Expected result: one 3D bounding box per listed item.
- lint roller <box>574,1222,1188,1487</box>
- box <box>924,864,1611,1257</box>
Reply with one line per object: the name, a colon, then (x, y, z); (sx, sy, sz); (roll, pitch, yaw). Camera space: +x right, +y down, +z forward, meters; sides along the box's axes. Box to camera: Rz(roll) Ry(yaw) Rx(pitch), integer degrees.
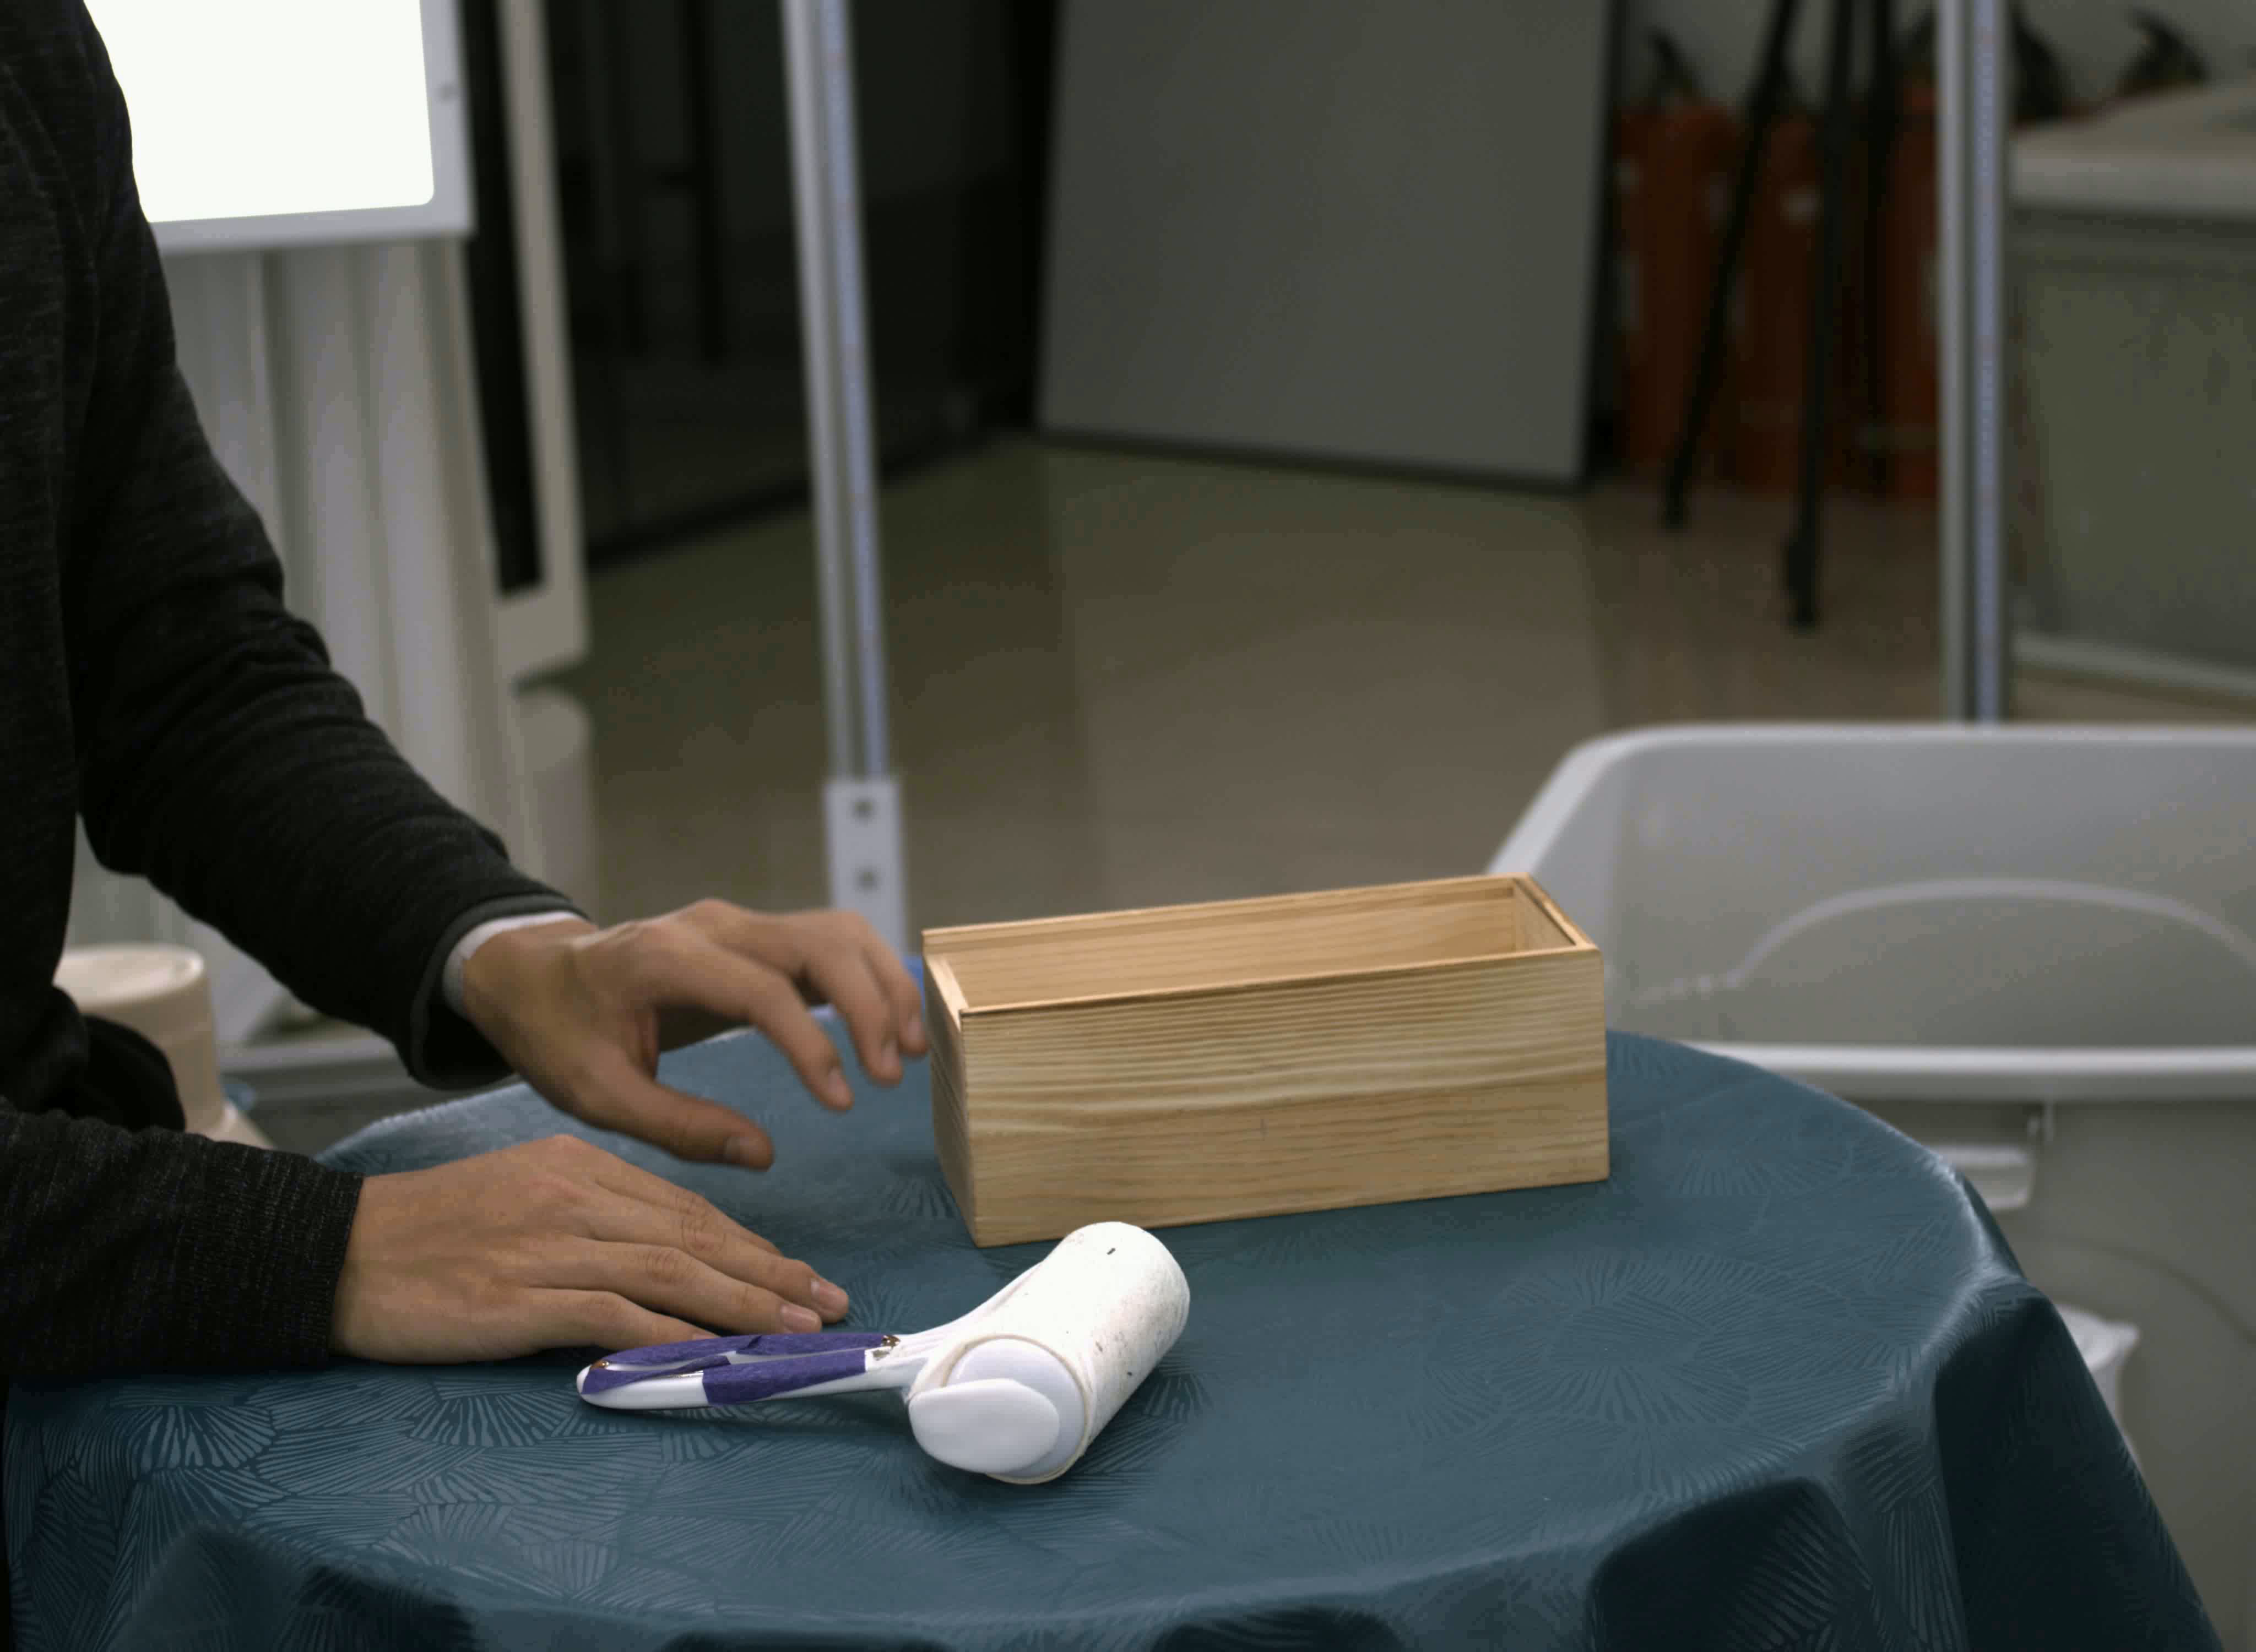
lint roller: (-0.079, 0.149, 1.579); (0.180, 0.051, 0.131); (3, 16, 20)
box: (0.044, 0.075, 1.775); (0.208, 0.081, 0.108); (-7, 14, -7)
